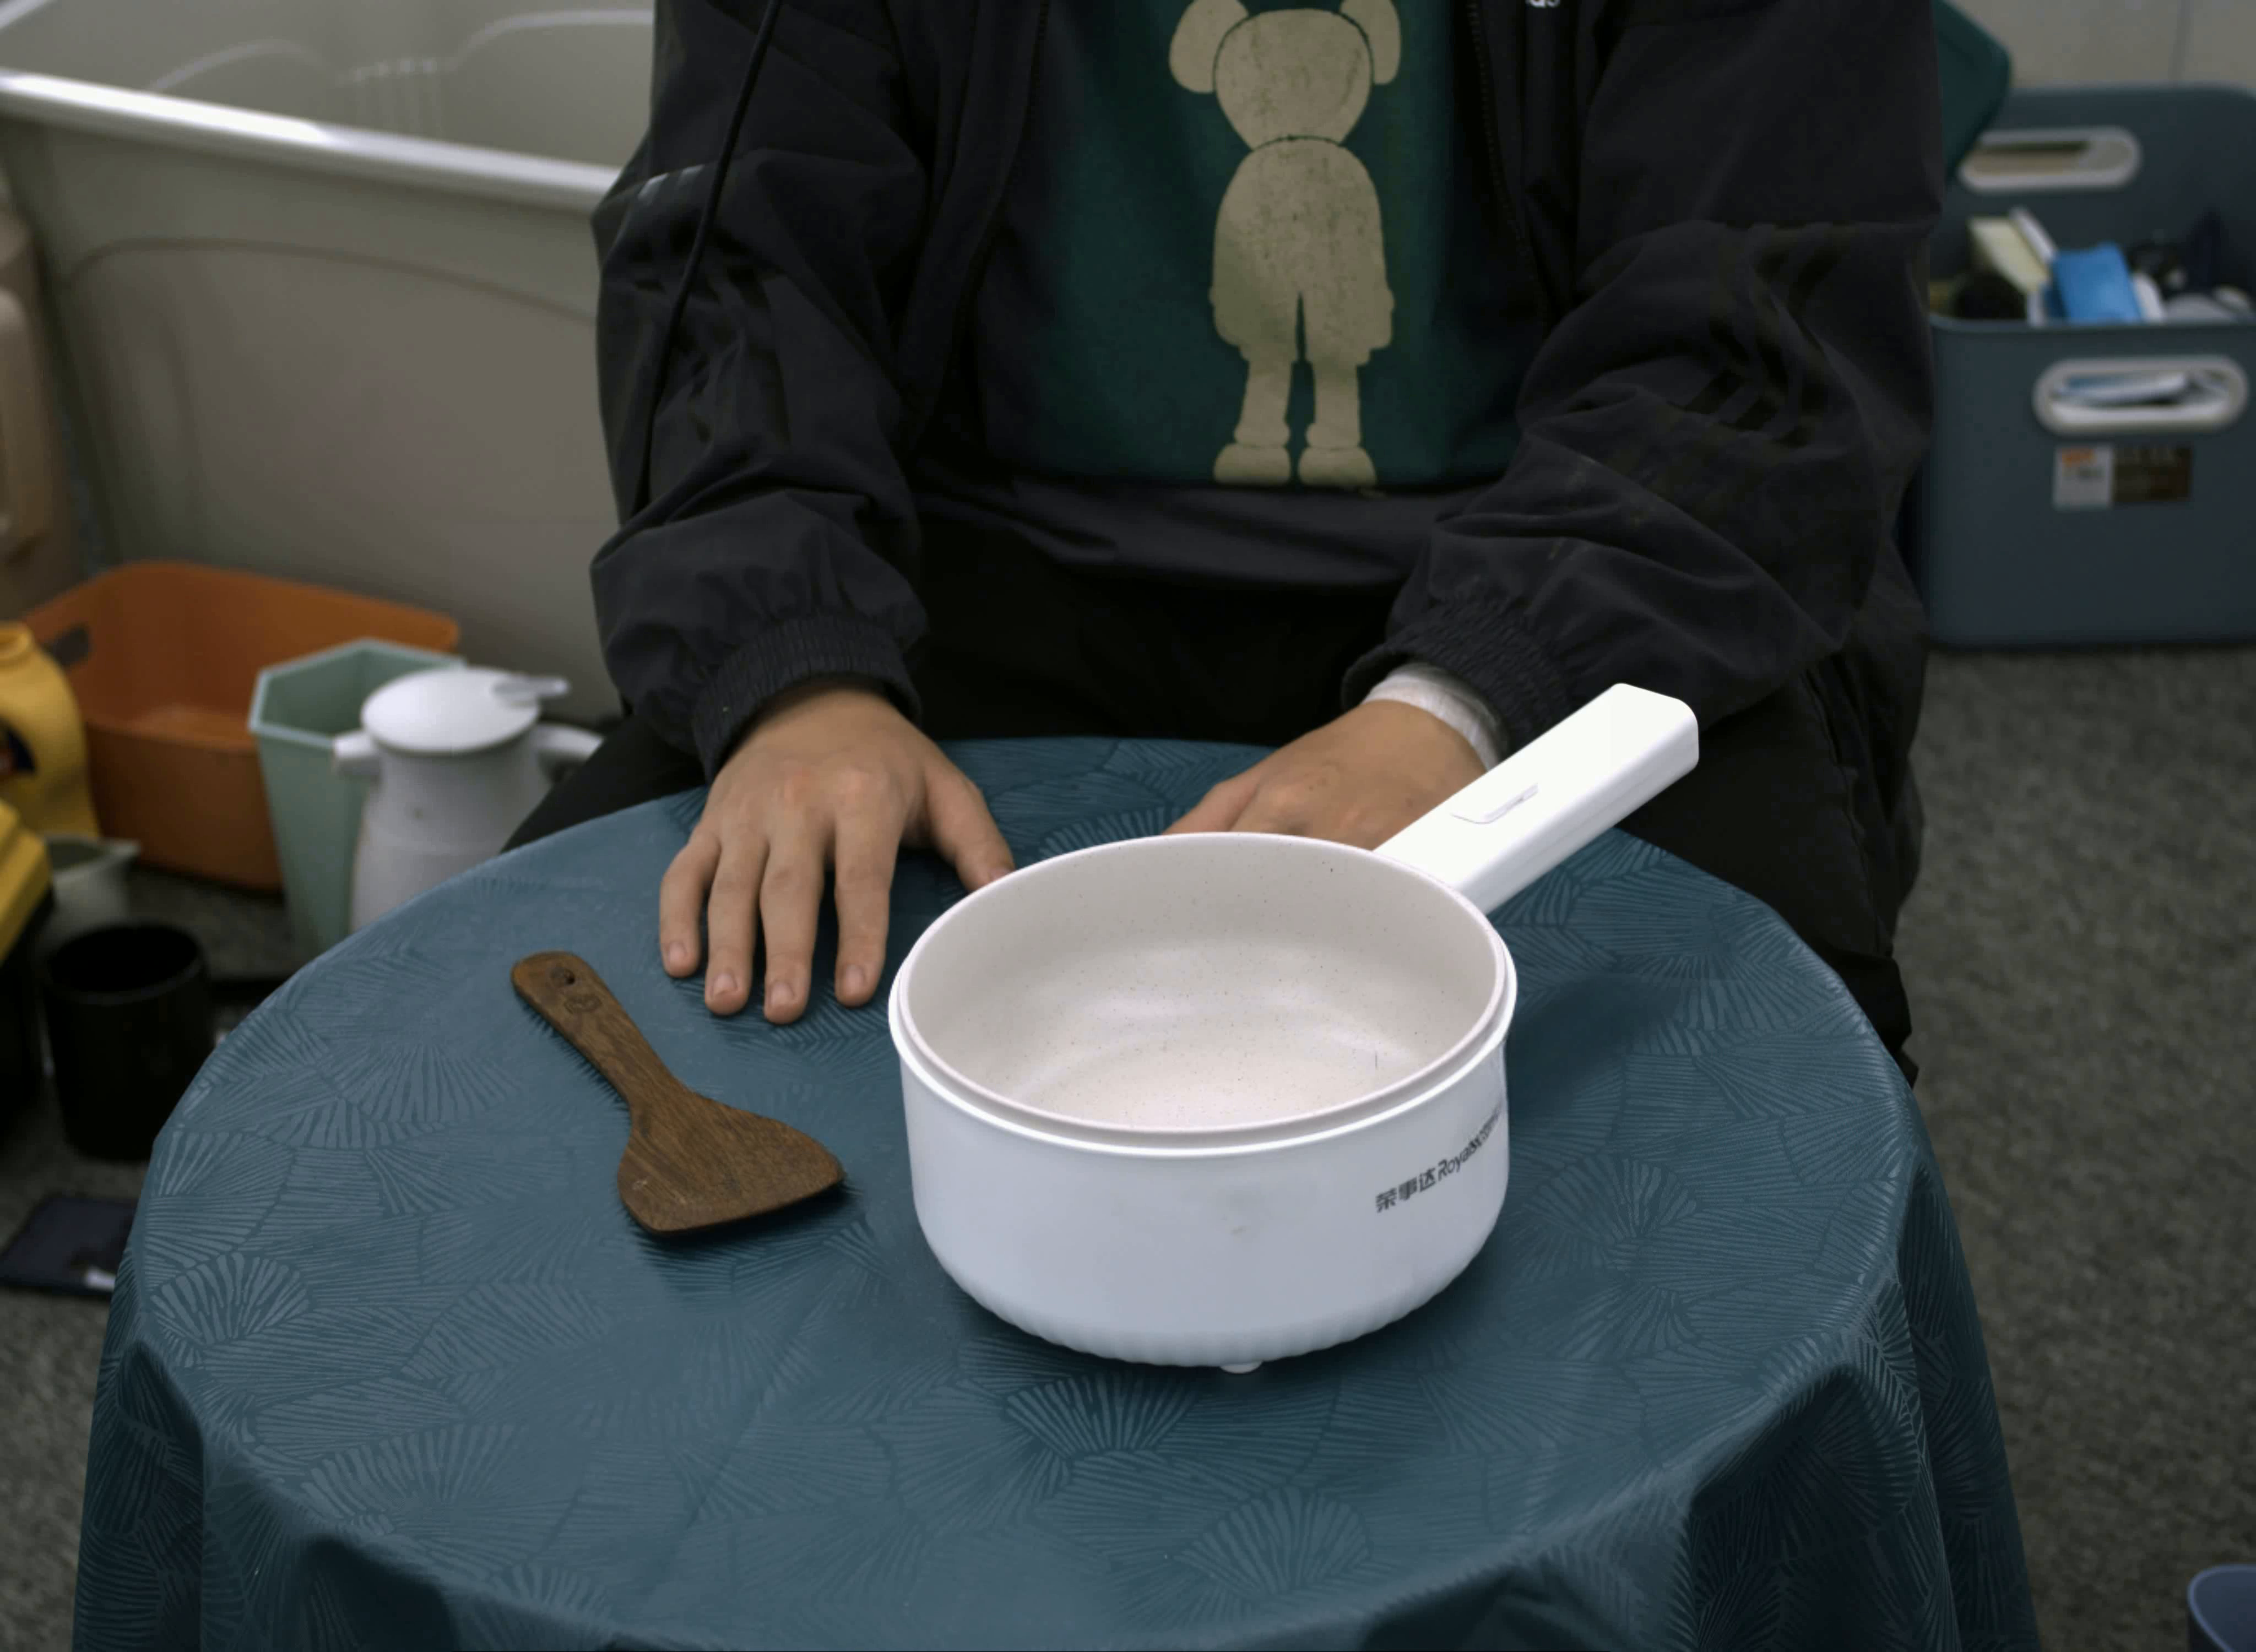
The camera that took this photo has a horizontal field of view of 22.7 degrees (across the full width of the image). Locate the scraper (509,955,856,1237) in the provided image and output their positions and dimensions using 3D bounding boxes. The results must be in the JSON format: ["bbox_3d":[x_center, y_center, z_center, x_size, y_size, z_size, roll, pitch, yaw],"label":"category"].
[{"bbox_3d":[-0.165,0.090,1.926,0.076,0.011,0.212,-14,28,-22],"label":"scraper"}]

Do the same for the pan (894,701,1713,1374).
[{"bbox_3d":[0.076,0.064,1.860,0.200,0.101,0.359,17,31,36],"label":"pan"}]
